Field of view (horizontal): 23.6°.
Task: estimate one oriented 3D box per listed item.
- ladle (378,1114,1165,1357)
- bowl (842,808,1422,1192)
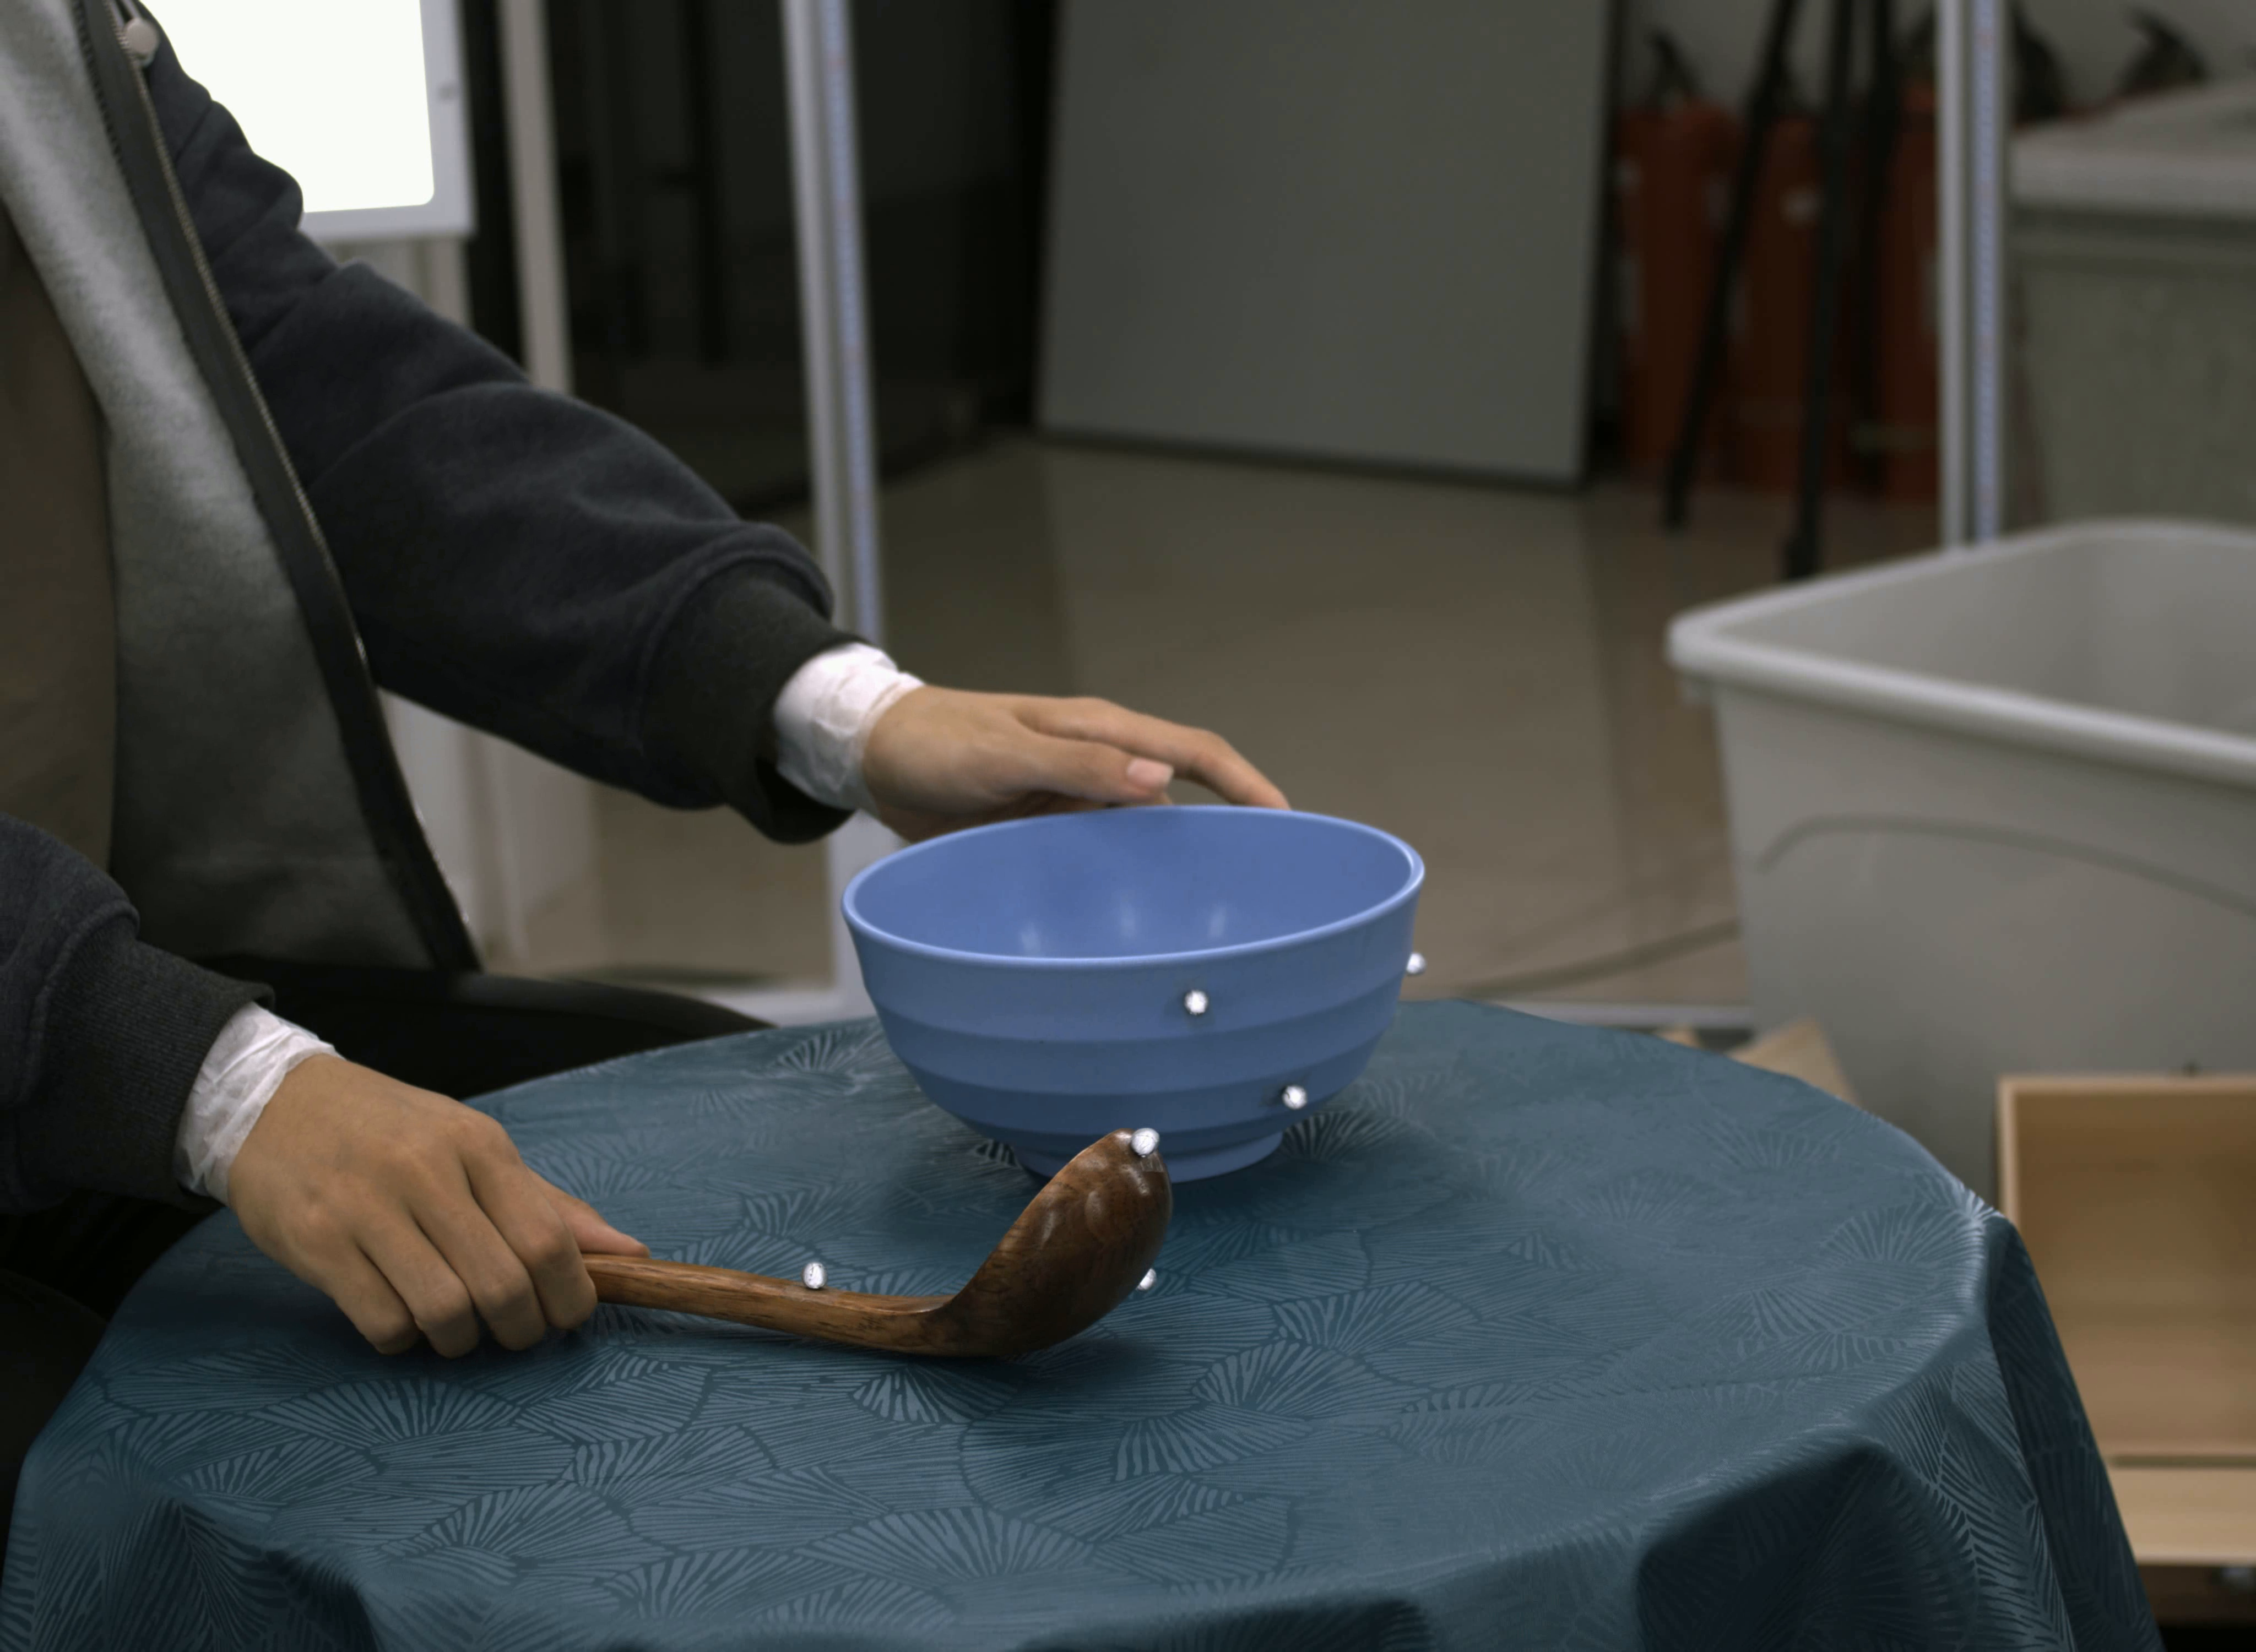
[{"bbox_3d":[-0.115,0.118,1.648,0.275,0.077,0.080,3,4,28],"label":"ladle"},{"bbox_3d":[0.005,0.064,1.805,0.194,0.096,0.197,-5,13,0],"label":"bowl"}]
